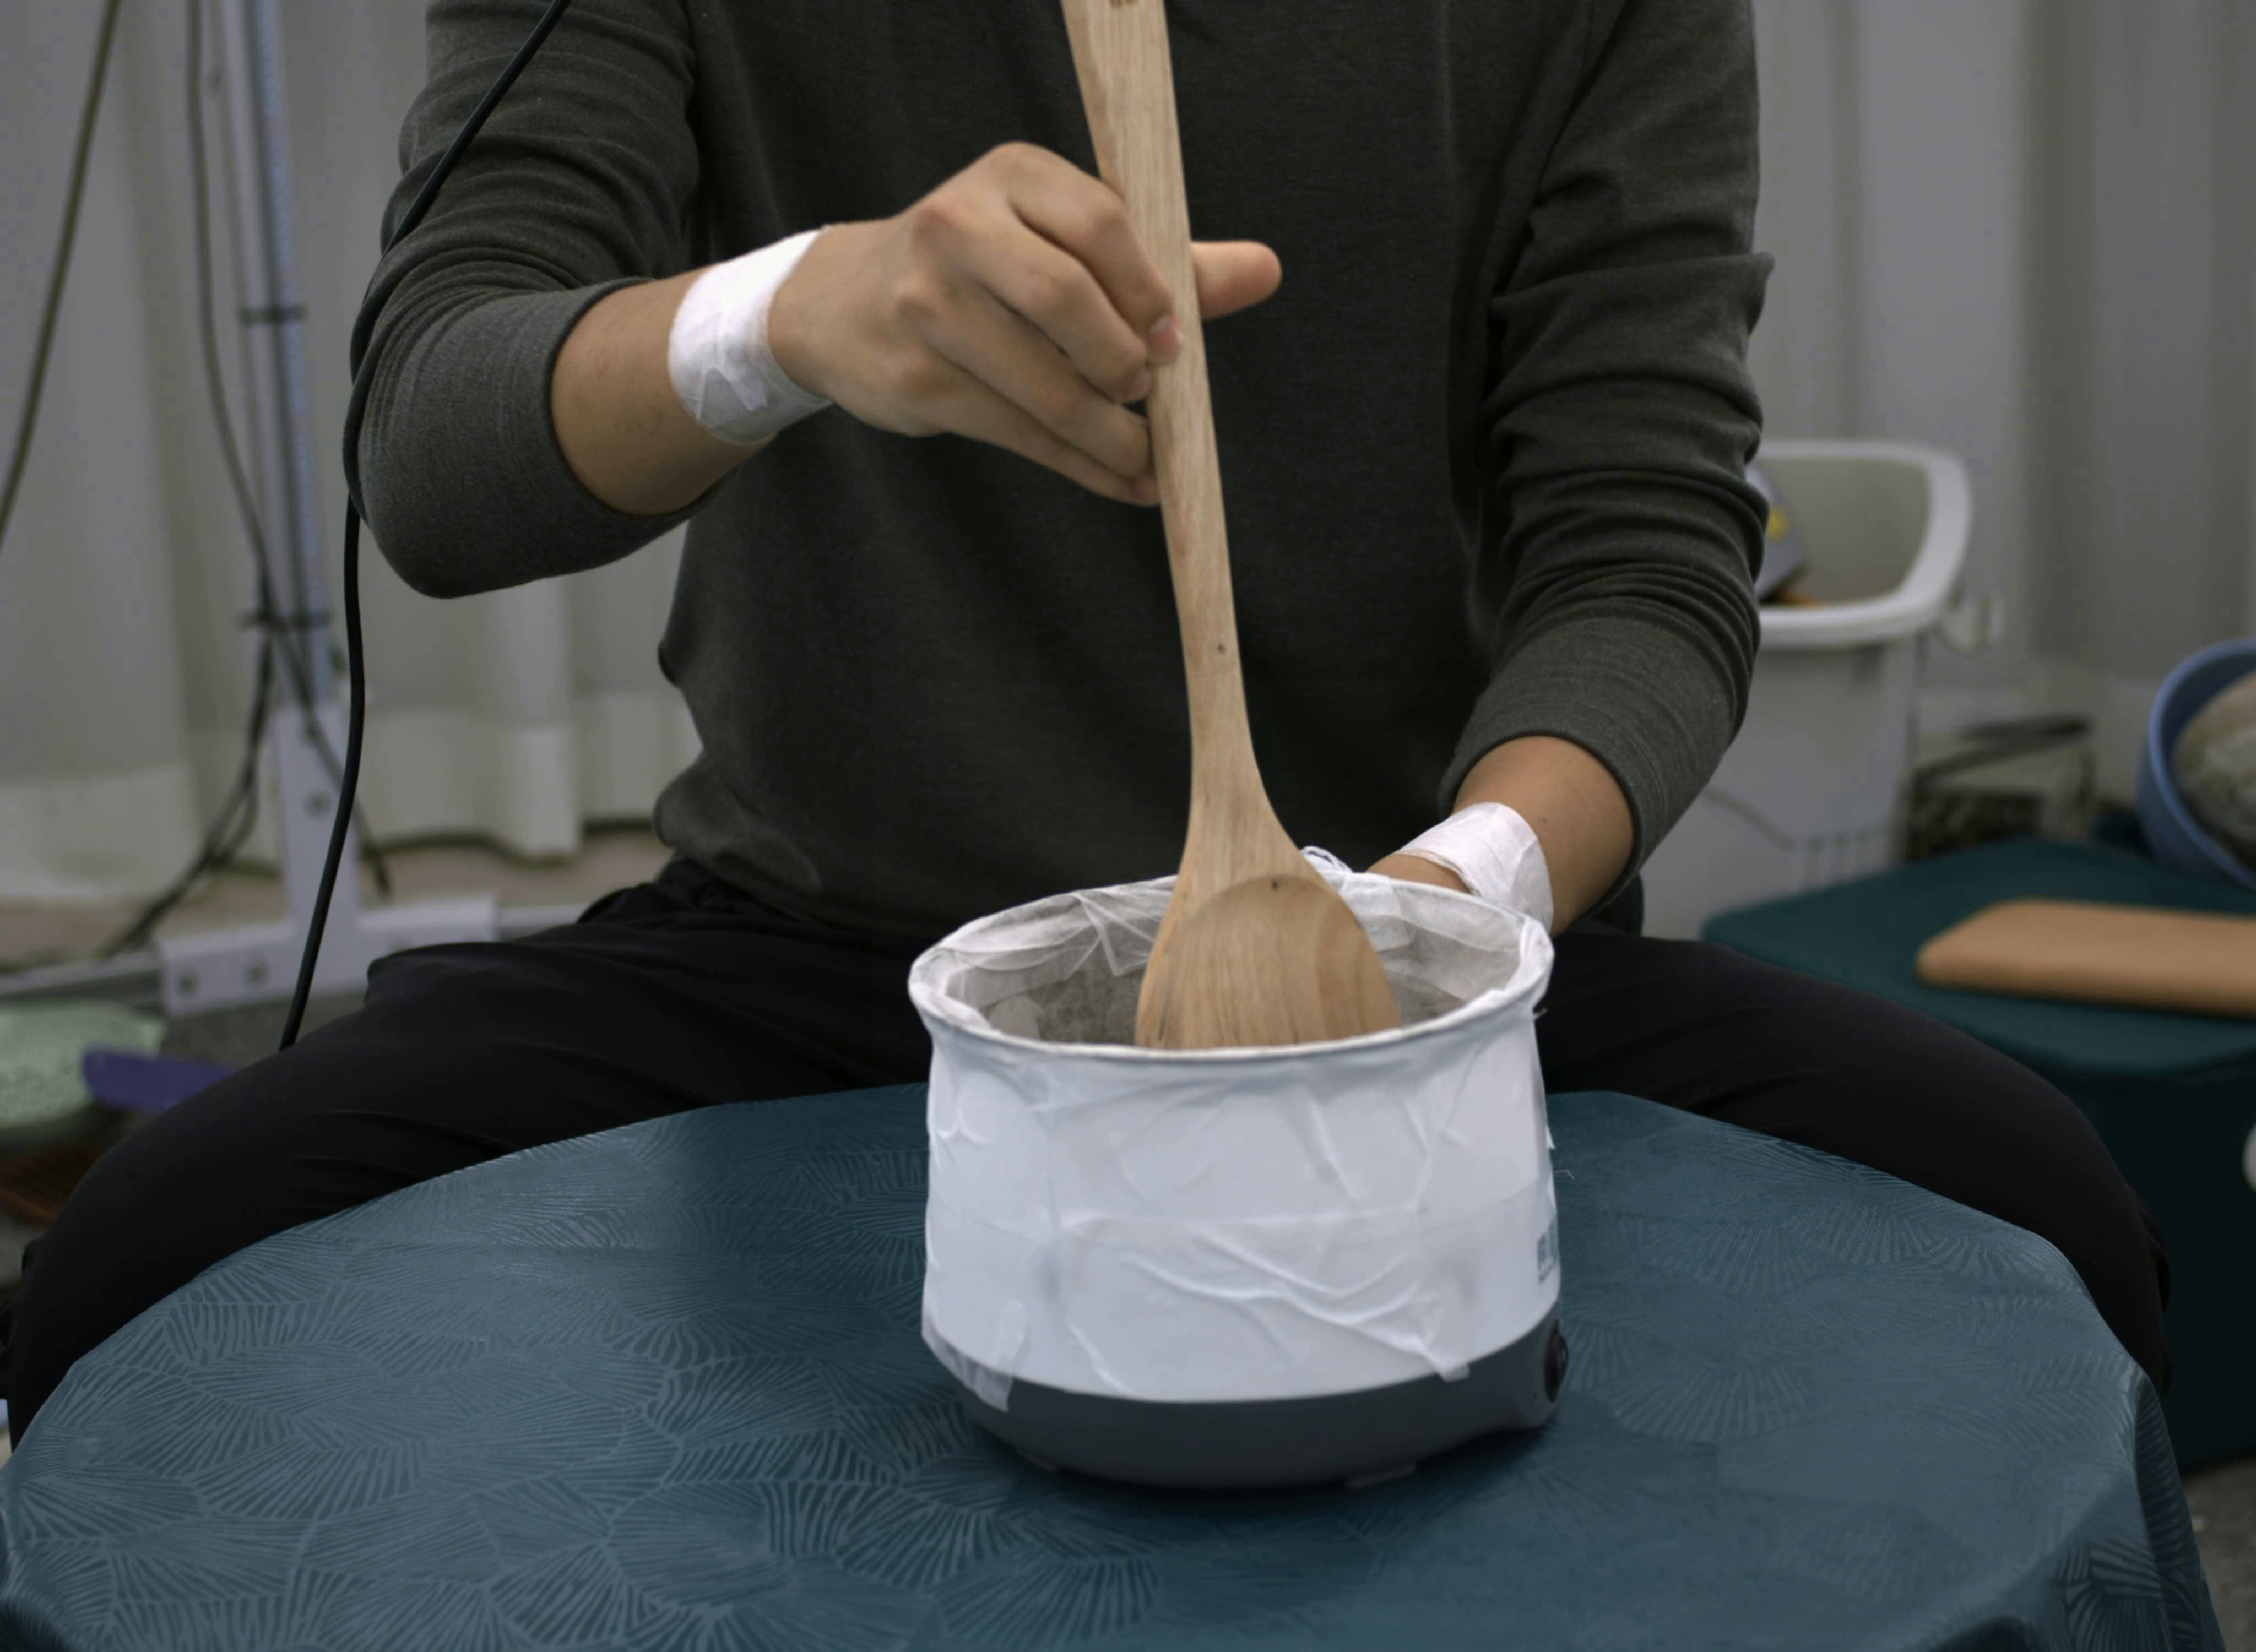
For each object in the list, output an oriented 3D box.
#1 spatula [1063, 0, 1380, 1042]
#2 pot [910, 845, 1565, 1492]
[{"bbox_3d":[0.013,-0.083,1.490,0.018,0.389,0.096,5,18,44],"label":"spatula"},{"bbox_3d":[0.038,0.090,1.538,0.178,0.136,0.235,1,15,14],"label":"pot"}]
